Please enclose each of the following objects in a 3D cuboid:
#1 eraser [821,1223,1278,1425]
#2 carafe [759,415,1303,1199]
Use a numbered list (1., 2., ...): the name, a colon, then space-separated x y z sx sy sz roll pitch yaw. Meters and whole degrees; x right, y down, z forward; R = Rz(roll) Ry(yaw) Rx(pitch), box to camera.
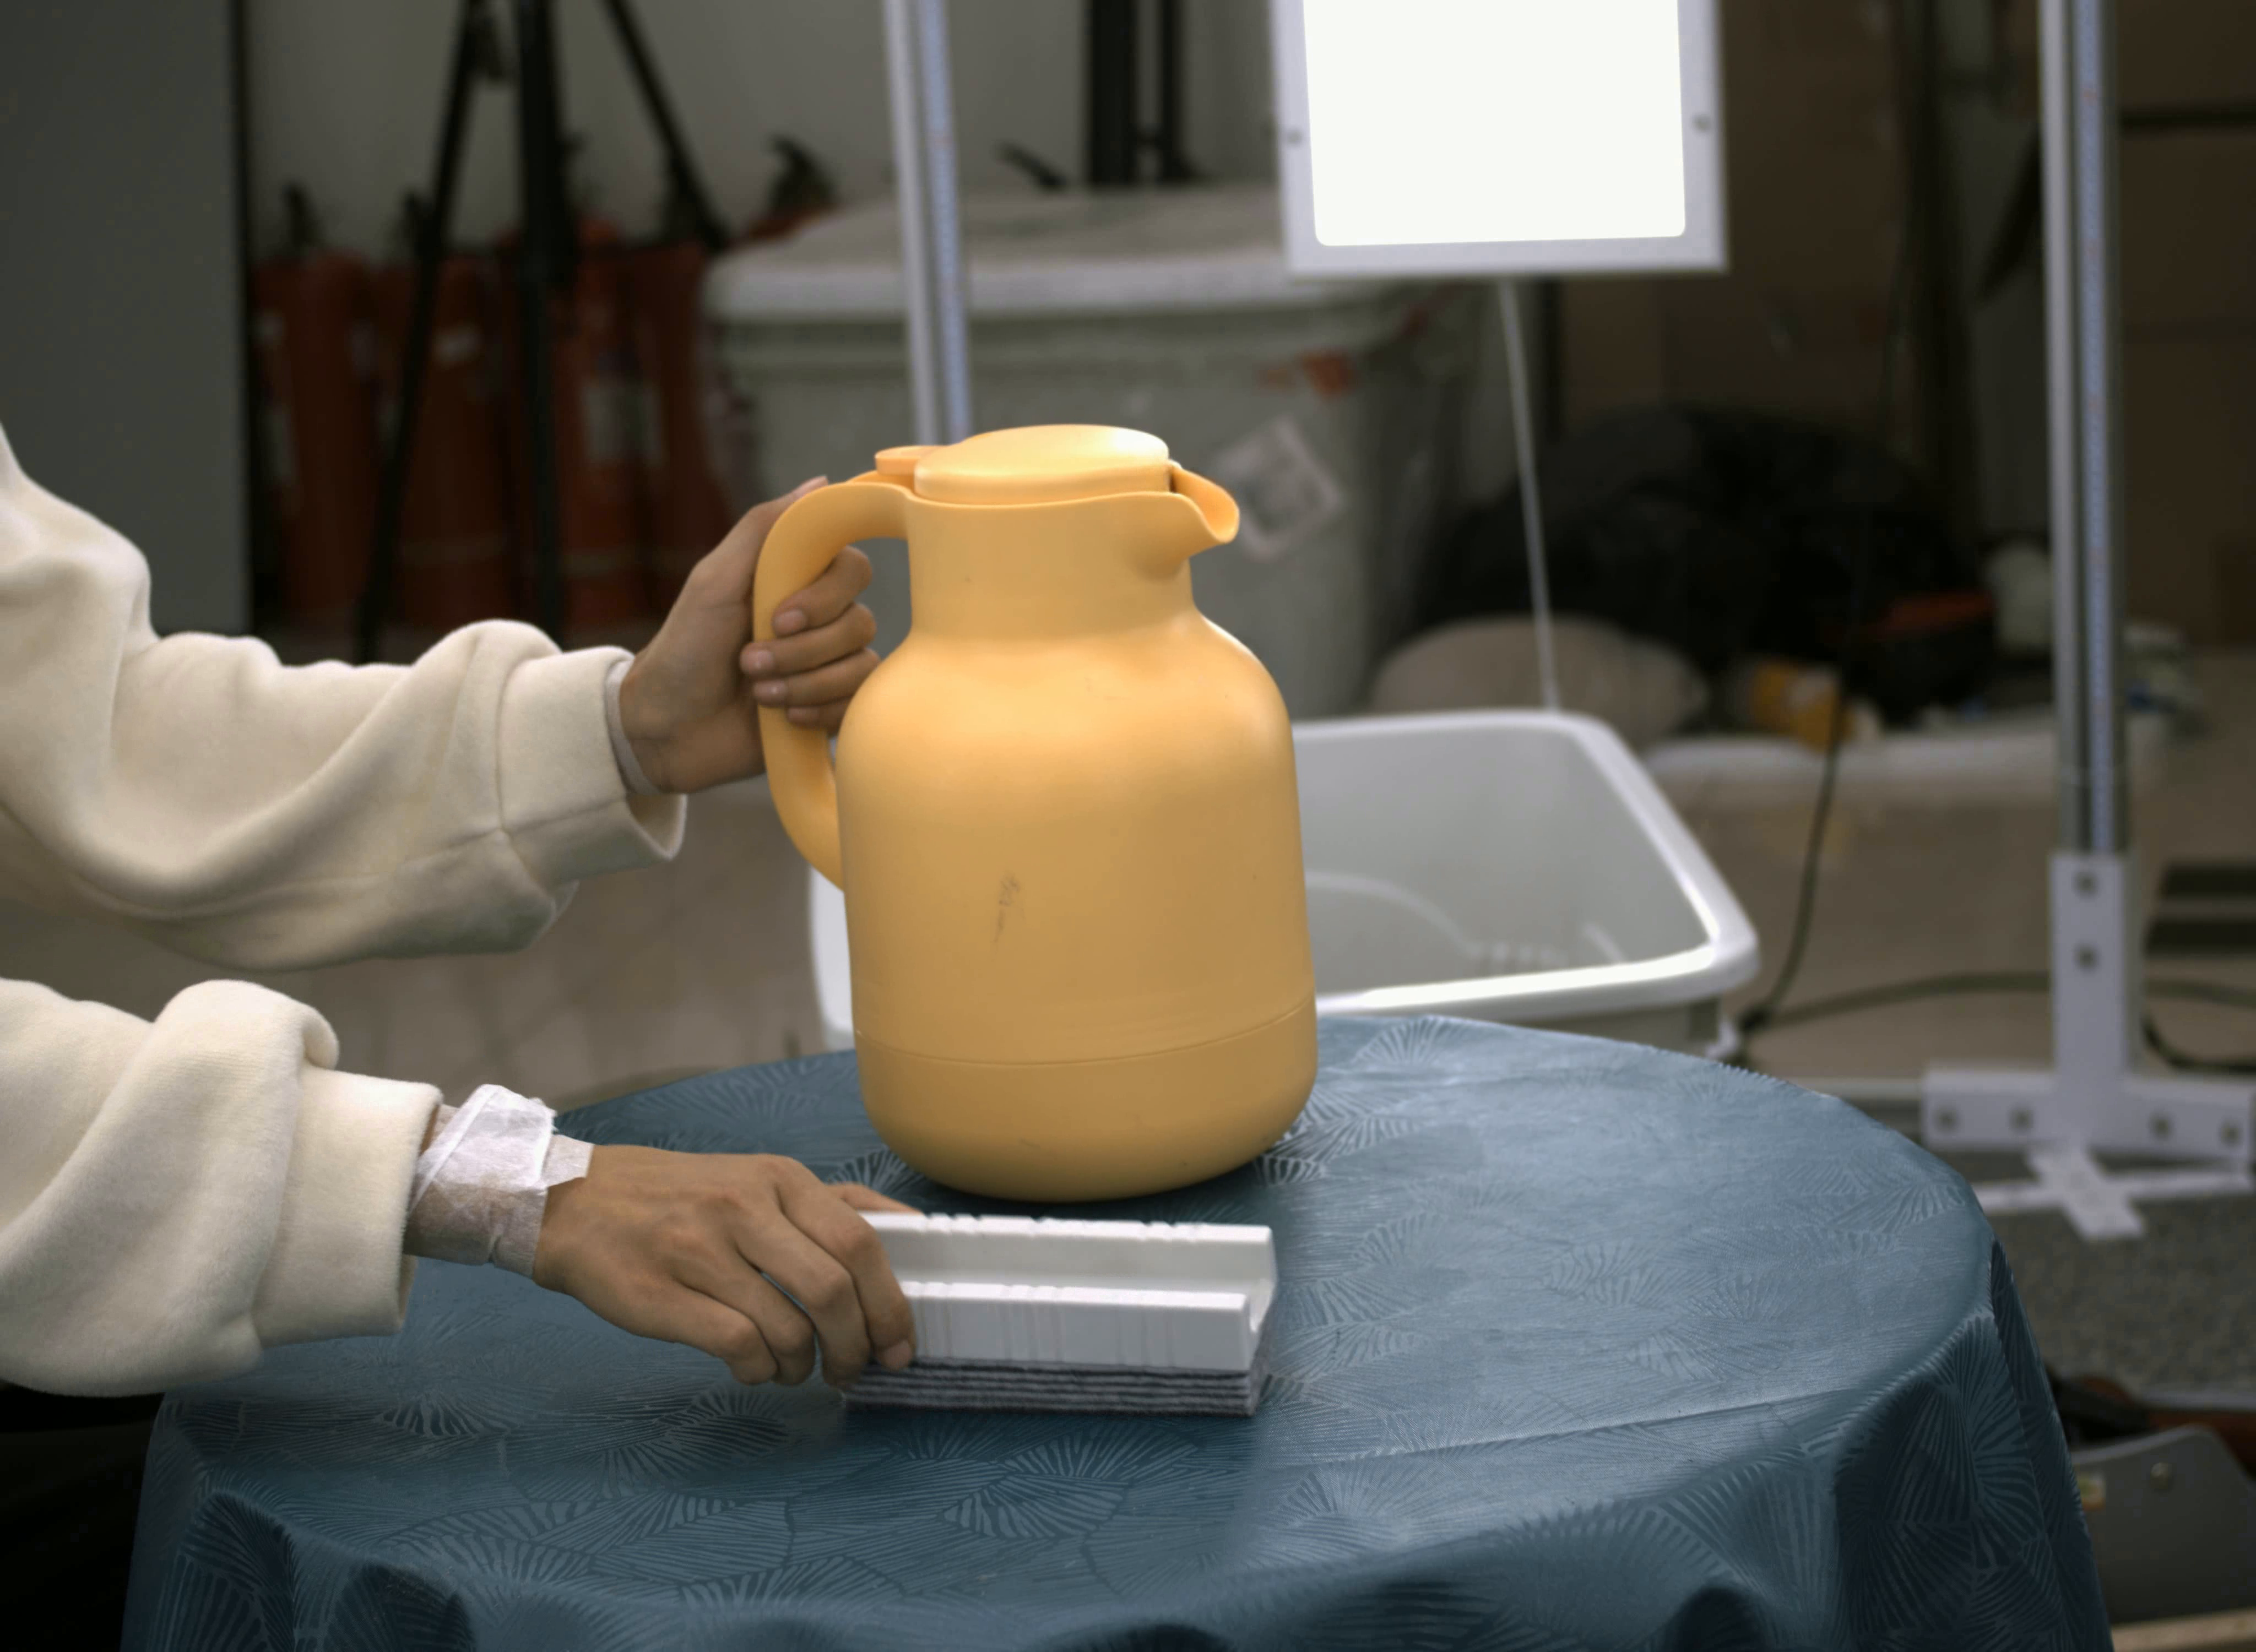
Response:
1. eraser: -0.023 0.153 1.693 0.135 0.046 0.049 -1 28 14
2. carafe: -0.038 -0.012 1.920 0.206 0.261 0.159 7 15 35
